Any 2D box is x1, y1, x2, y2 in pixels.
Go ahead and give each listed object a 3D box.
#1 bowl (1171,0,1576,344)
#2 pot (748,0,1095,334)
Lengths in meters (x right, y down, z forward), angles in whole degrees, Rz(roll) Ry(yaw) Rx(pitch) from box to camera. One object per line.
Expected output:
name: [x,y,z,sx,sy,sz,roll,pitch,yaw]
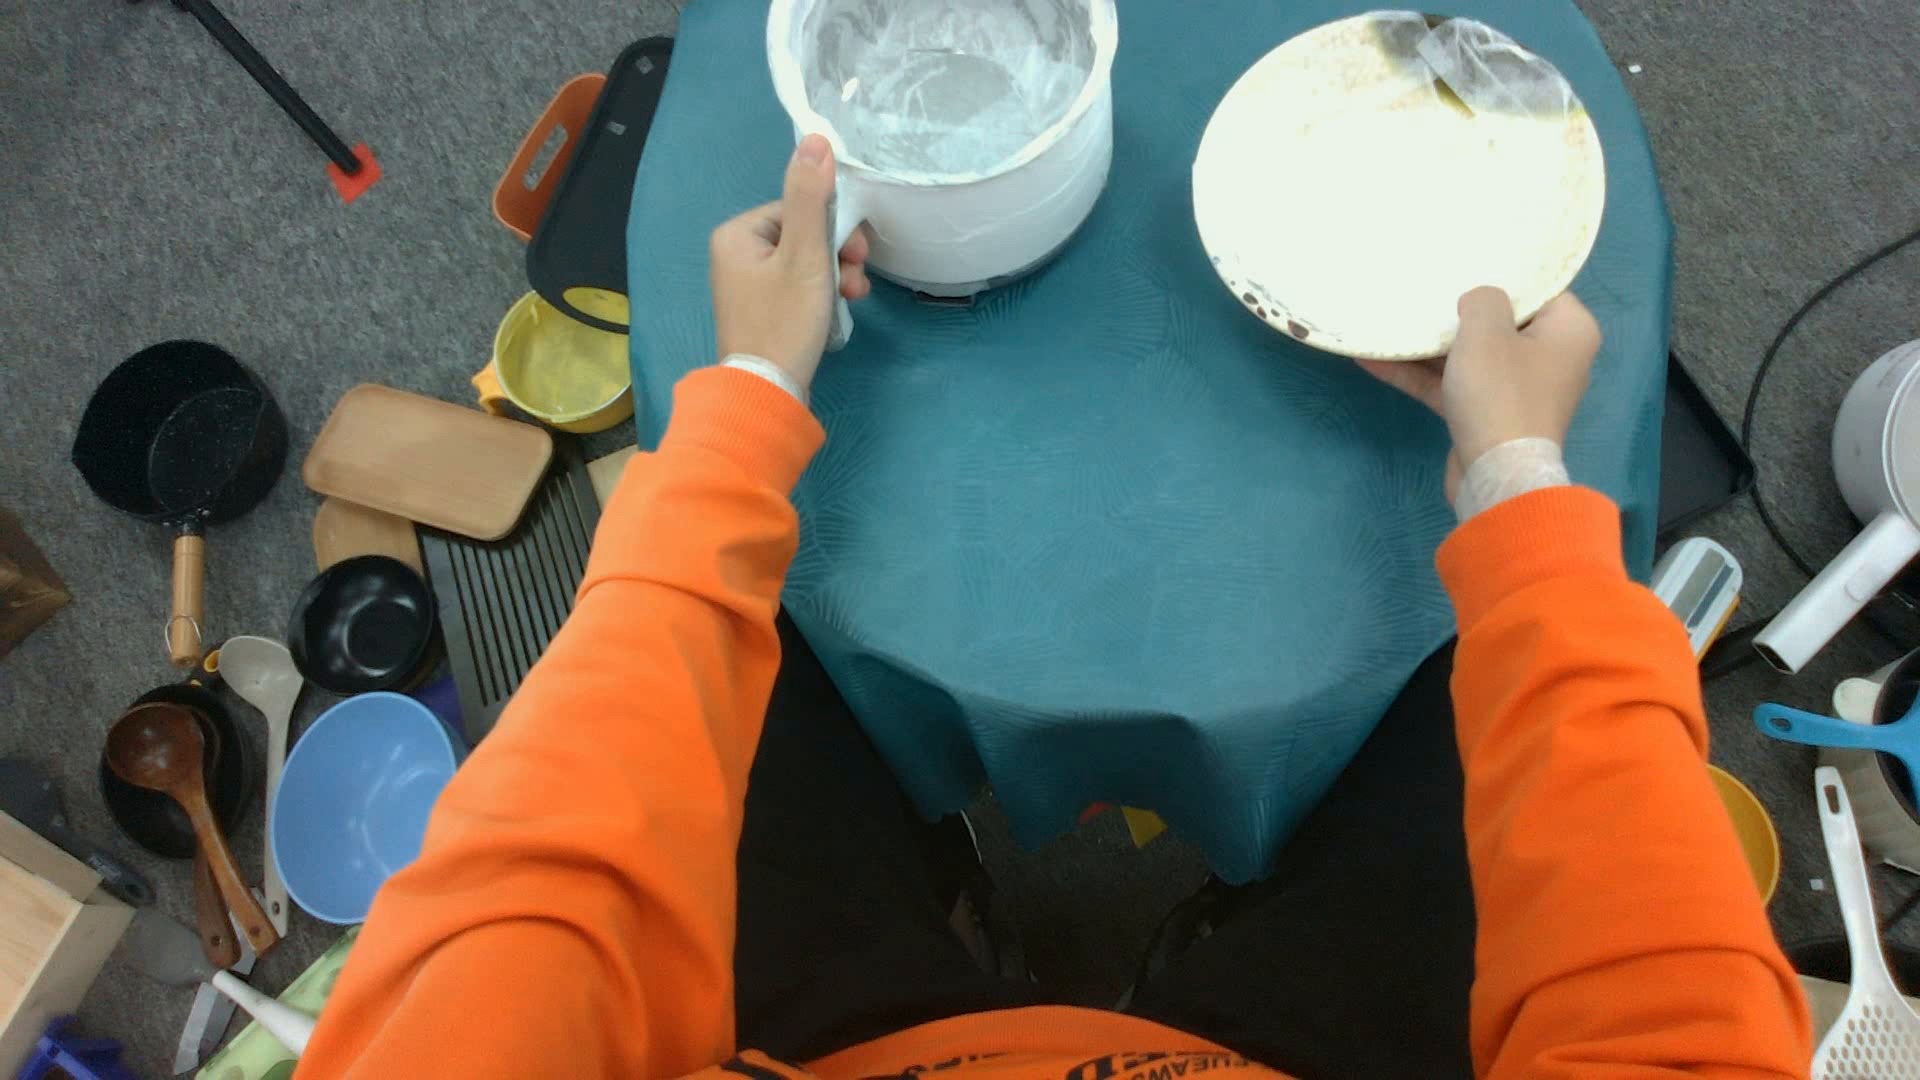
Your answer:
bowl: [0.217,-0.186,0.748,0.204,0.078,0.204,-2,73,8]
pot: [-0.031,-0.223,0.748,0.179,0.136,0.234,31,77,13]
